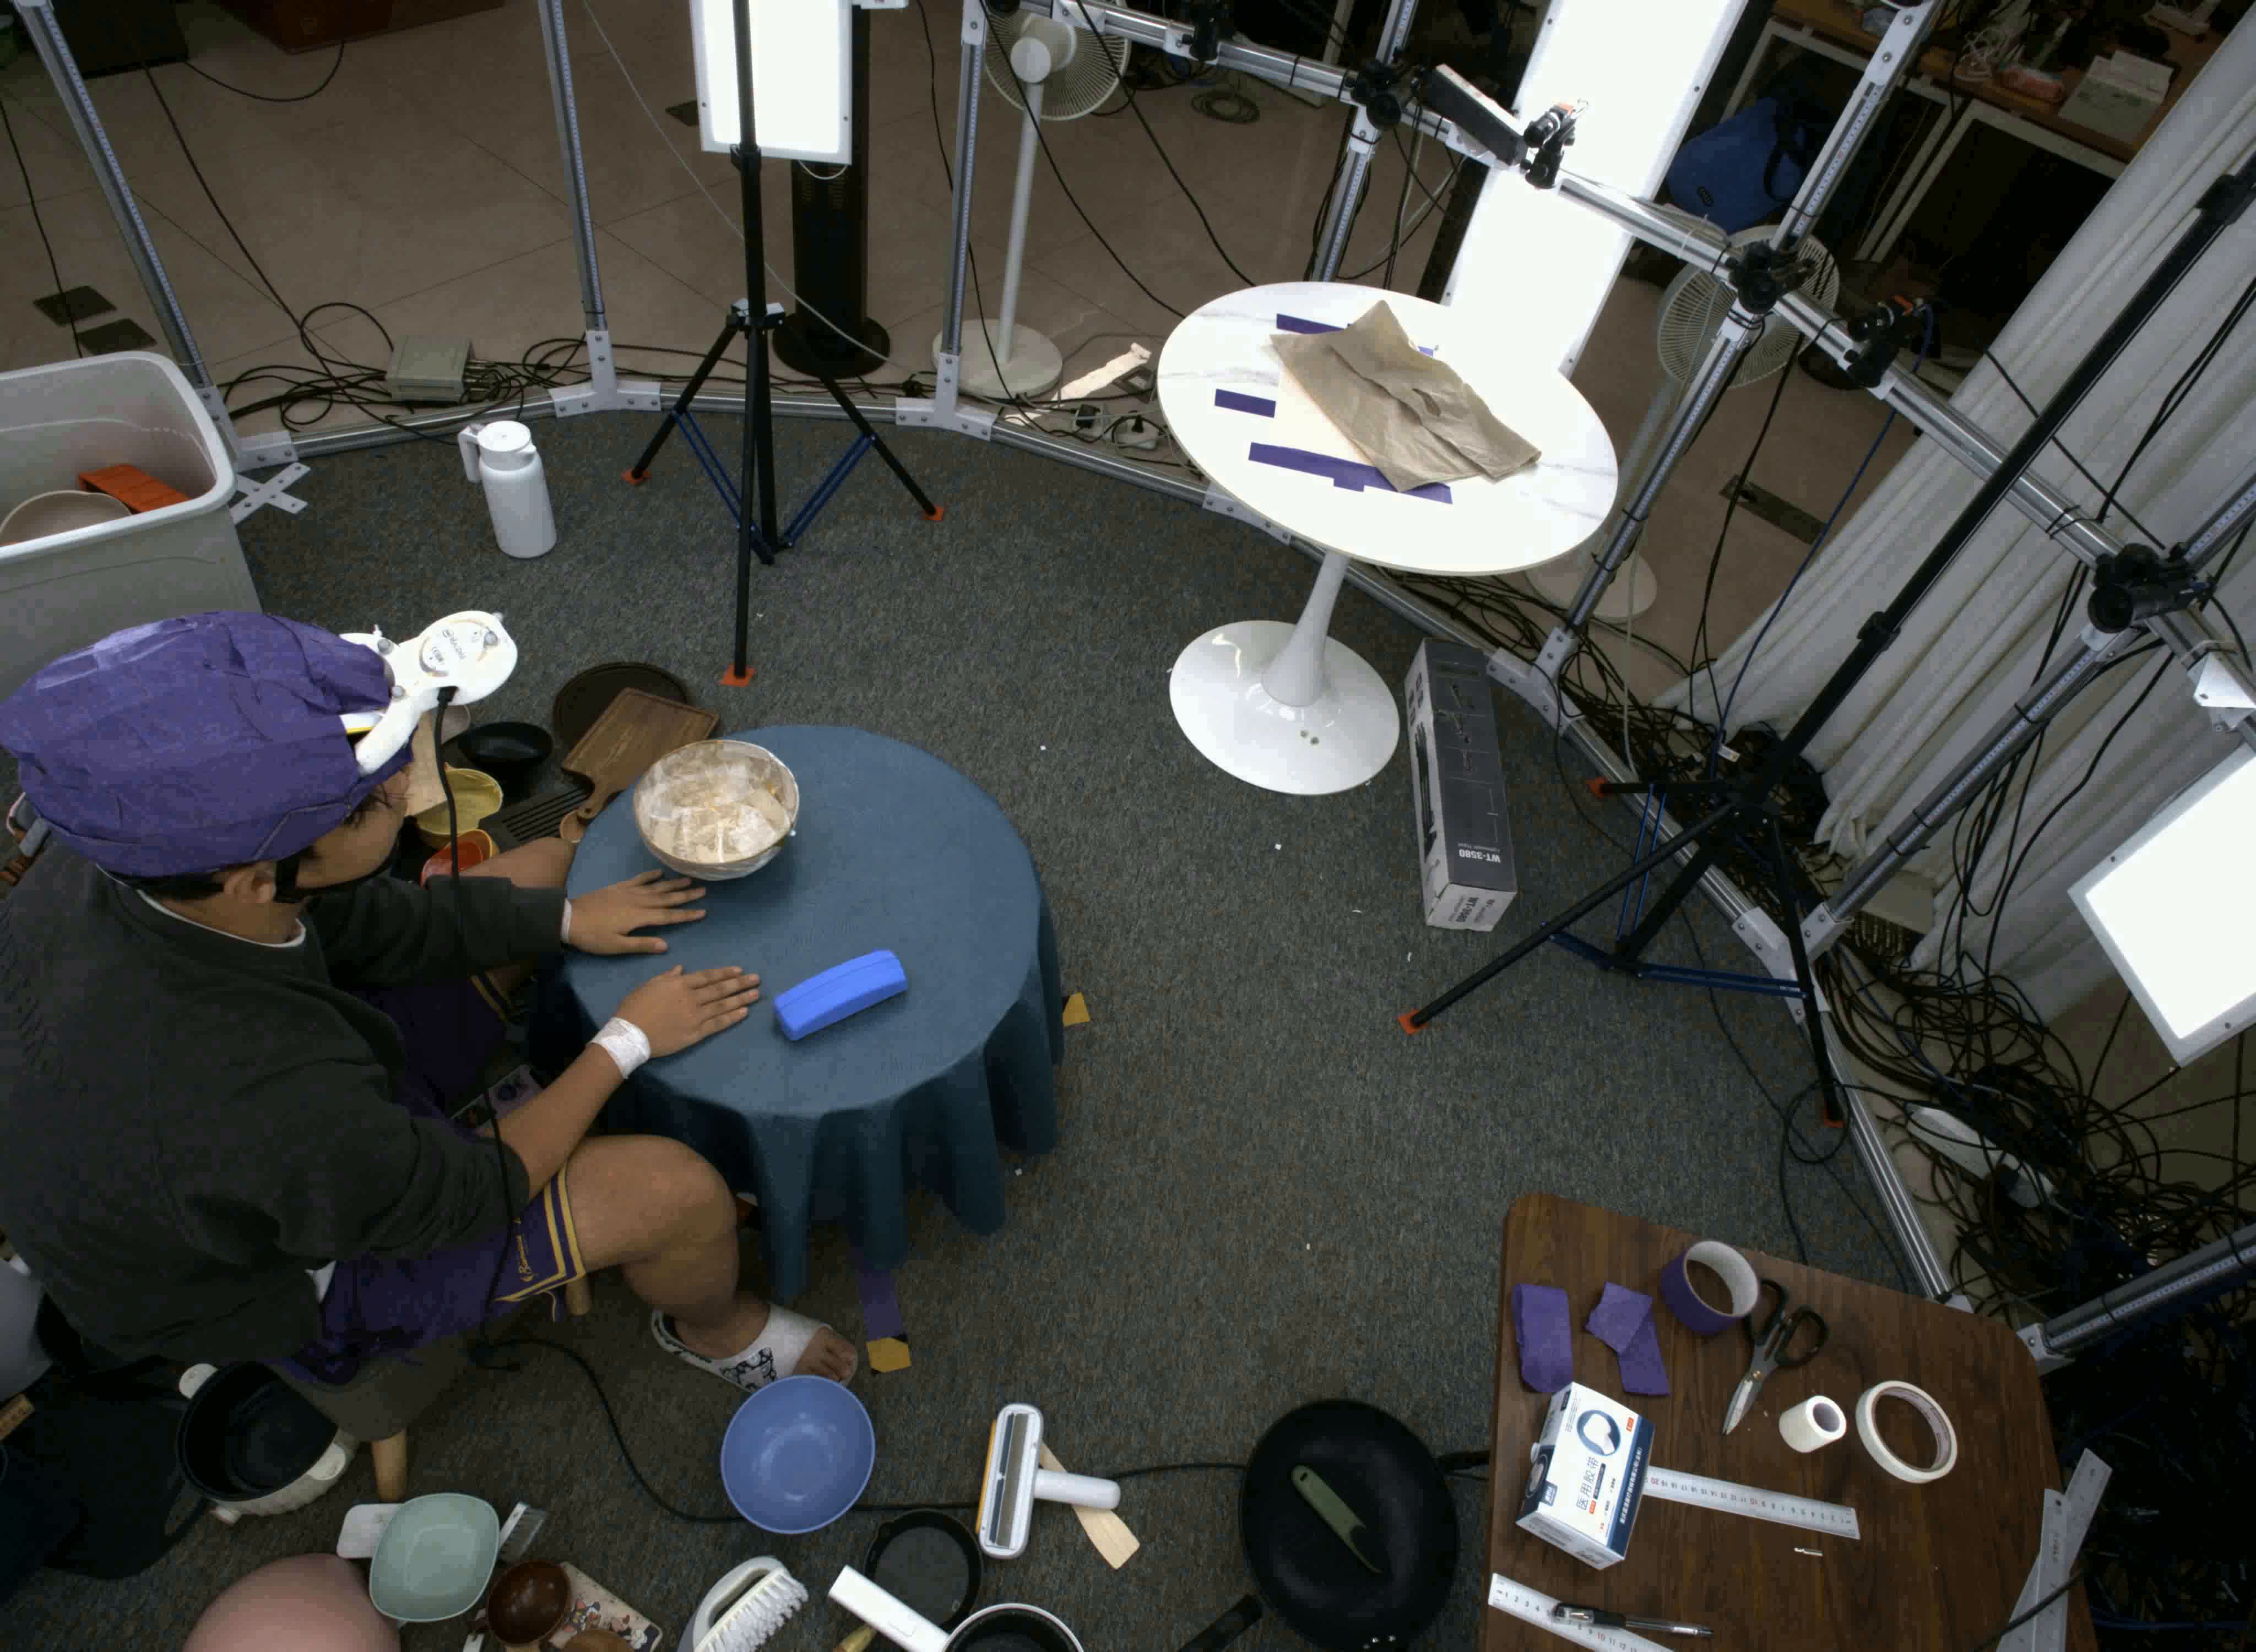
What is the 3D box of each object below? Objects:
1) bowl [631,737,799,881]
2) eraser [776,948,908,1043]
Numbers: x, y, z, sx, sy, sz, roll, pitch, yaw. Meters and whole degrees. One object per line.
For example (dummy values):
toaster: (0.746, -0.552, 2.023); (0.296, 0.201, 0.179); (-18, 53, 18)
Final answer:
bowl: (-0.526, -0.007, 1.647); (0.214, 0.096, 0.211); (8, 53, -9)
eraser: (-0.346, 0.198, 1.571); (0.163, 0.048, 0.052); (-25, 64, -28)
